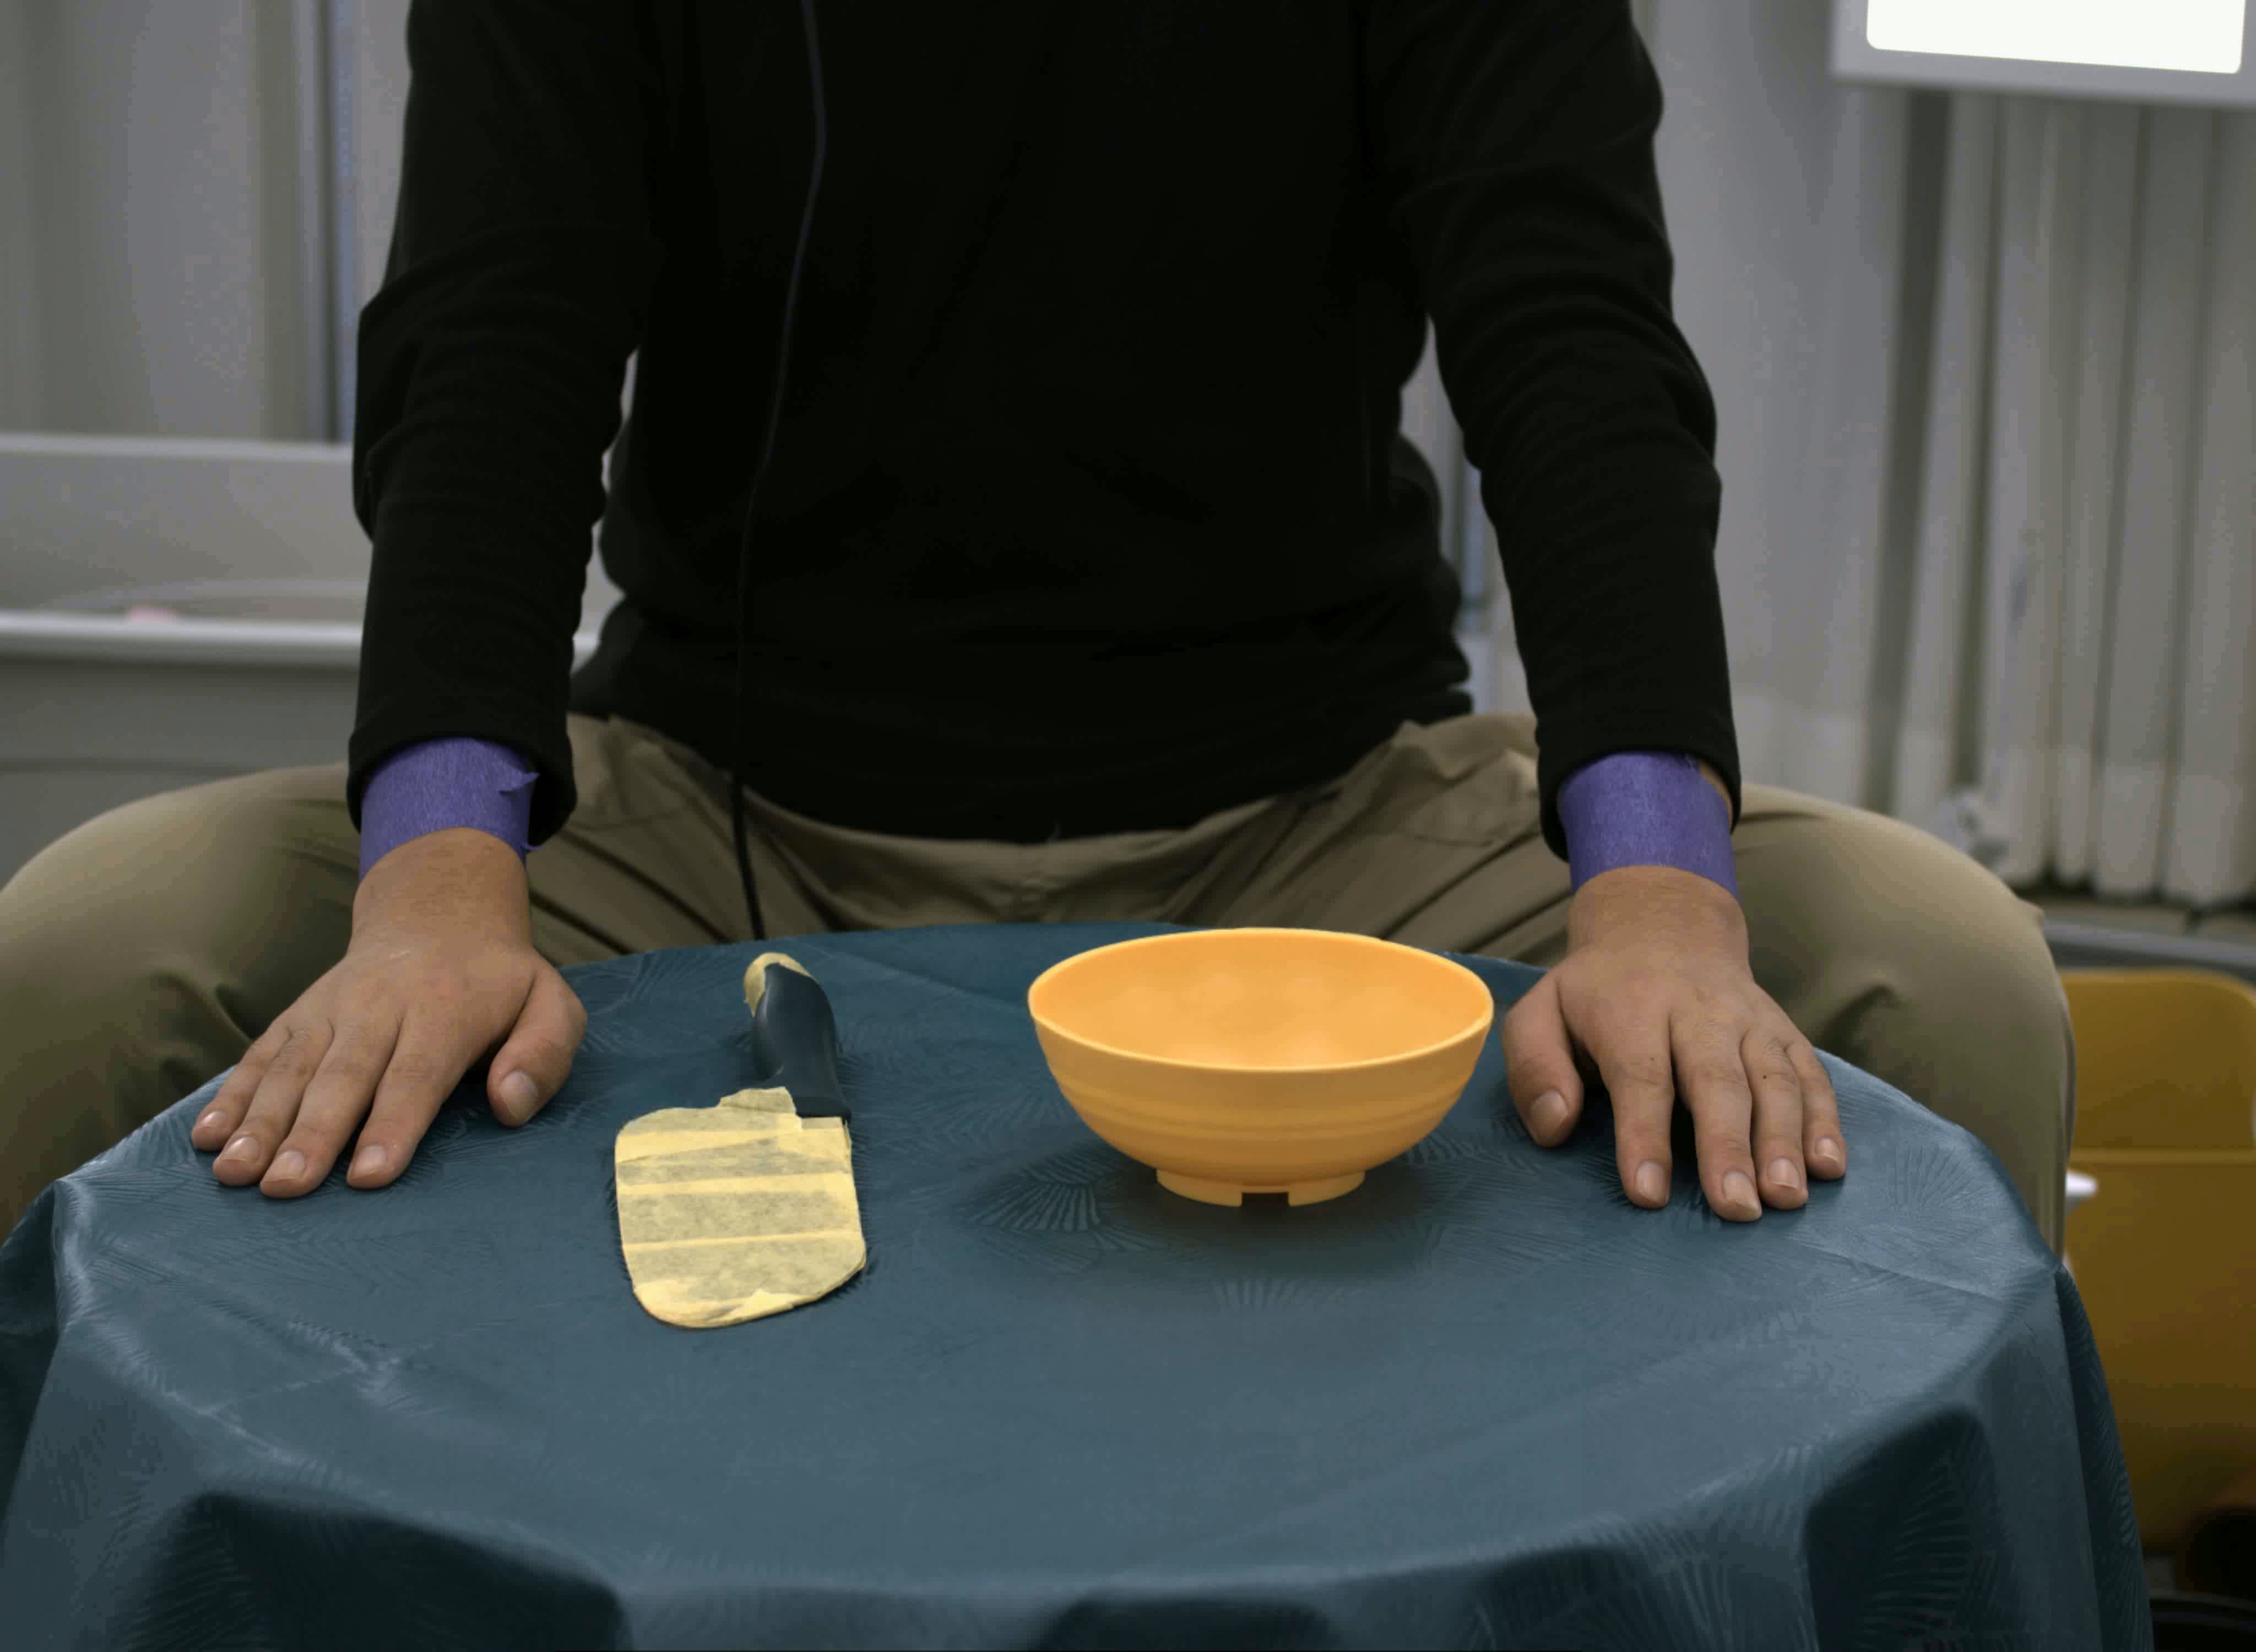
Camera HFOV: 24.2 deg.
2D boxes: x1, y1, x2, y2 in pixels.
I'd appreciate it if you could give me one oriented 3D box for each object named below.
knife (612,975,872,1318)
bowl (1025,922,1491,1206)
[{"bbox_3d":[-0.121,0.099,1.641,0.081,0.027,0.287,1,16,-4],"label":"knife"},{"bbox_3d":[0.039,0.079,1.633,0.145,0.060,0.144,3,16,0],"label":"bowl"}]
